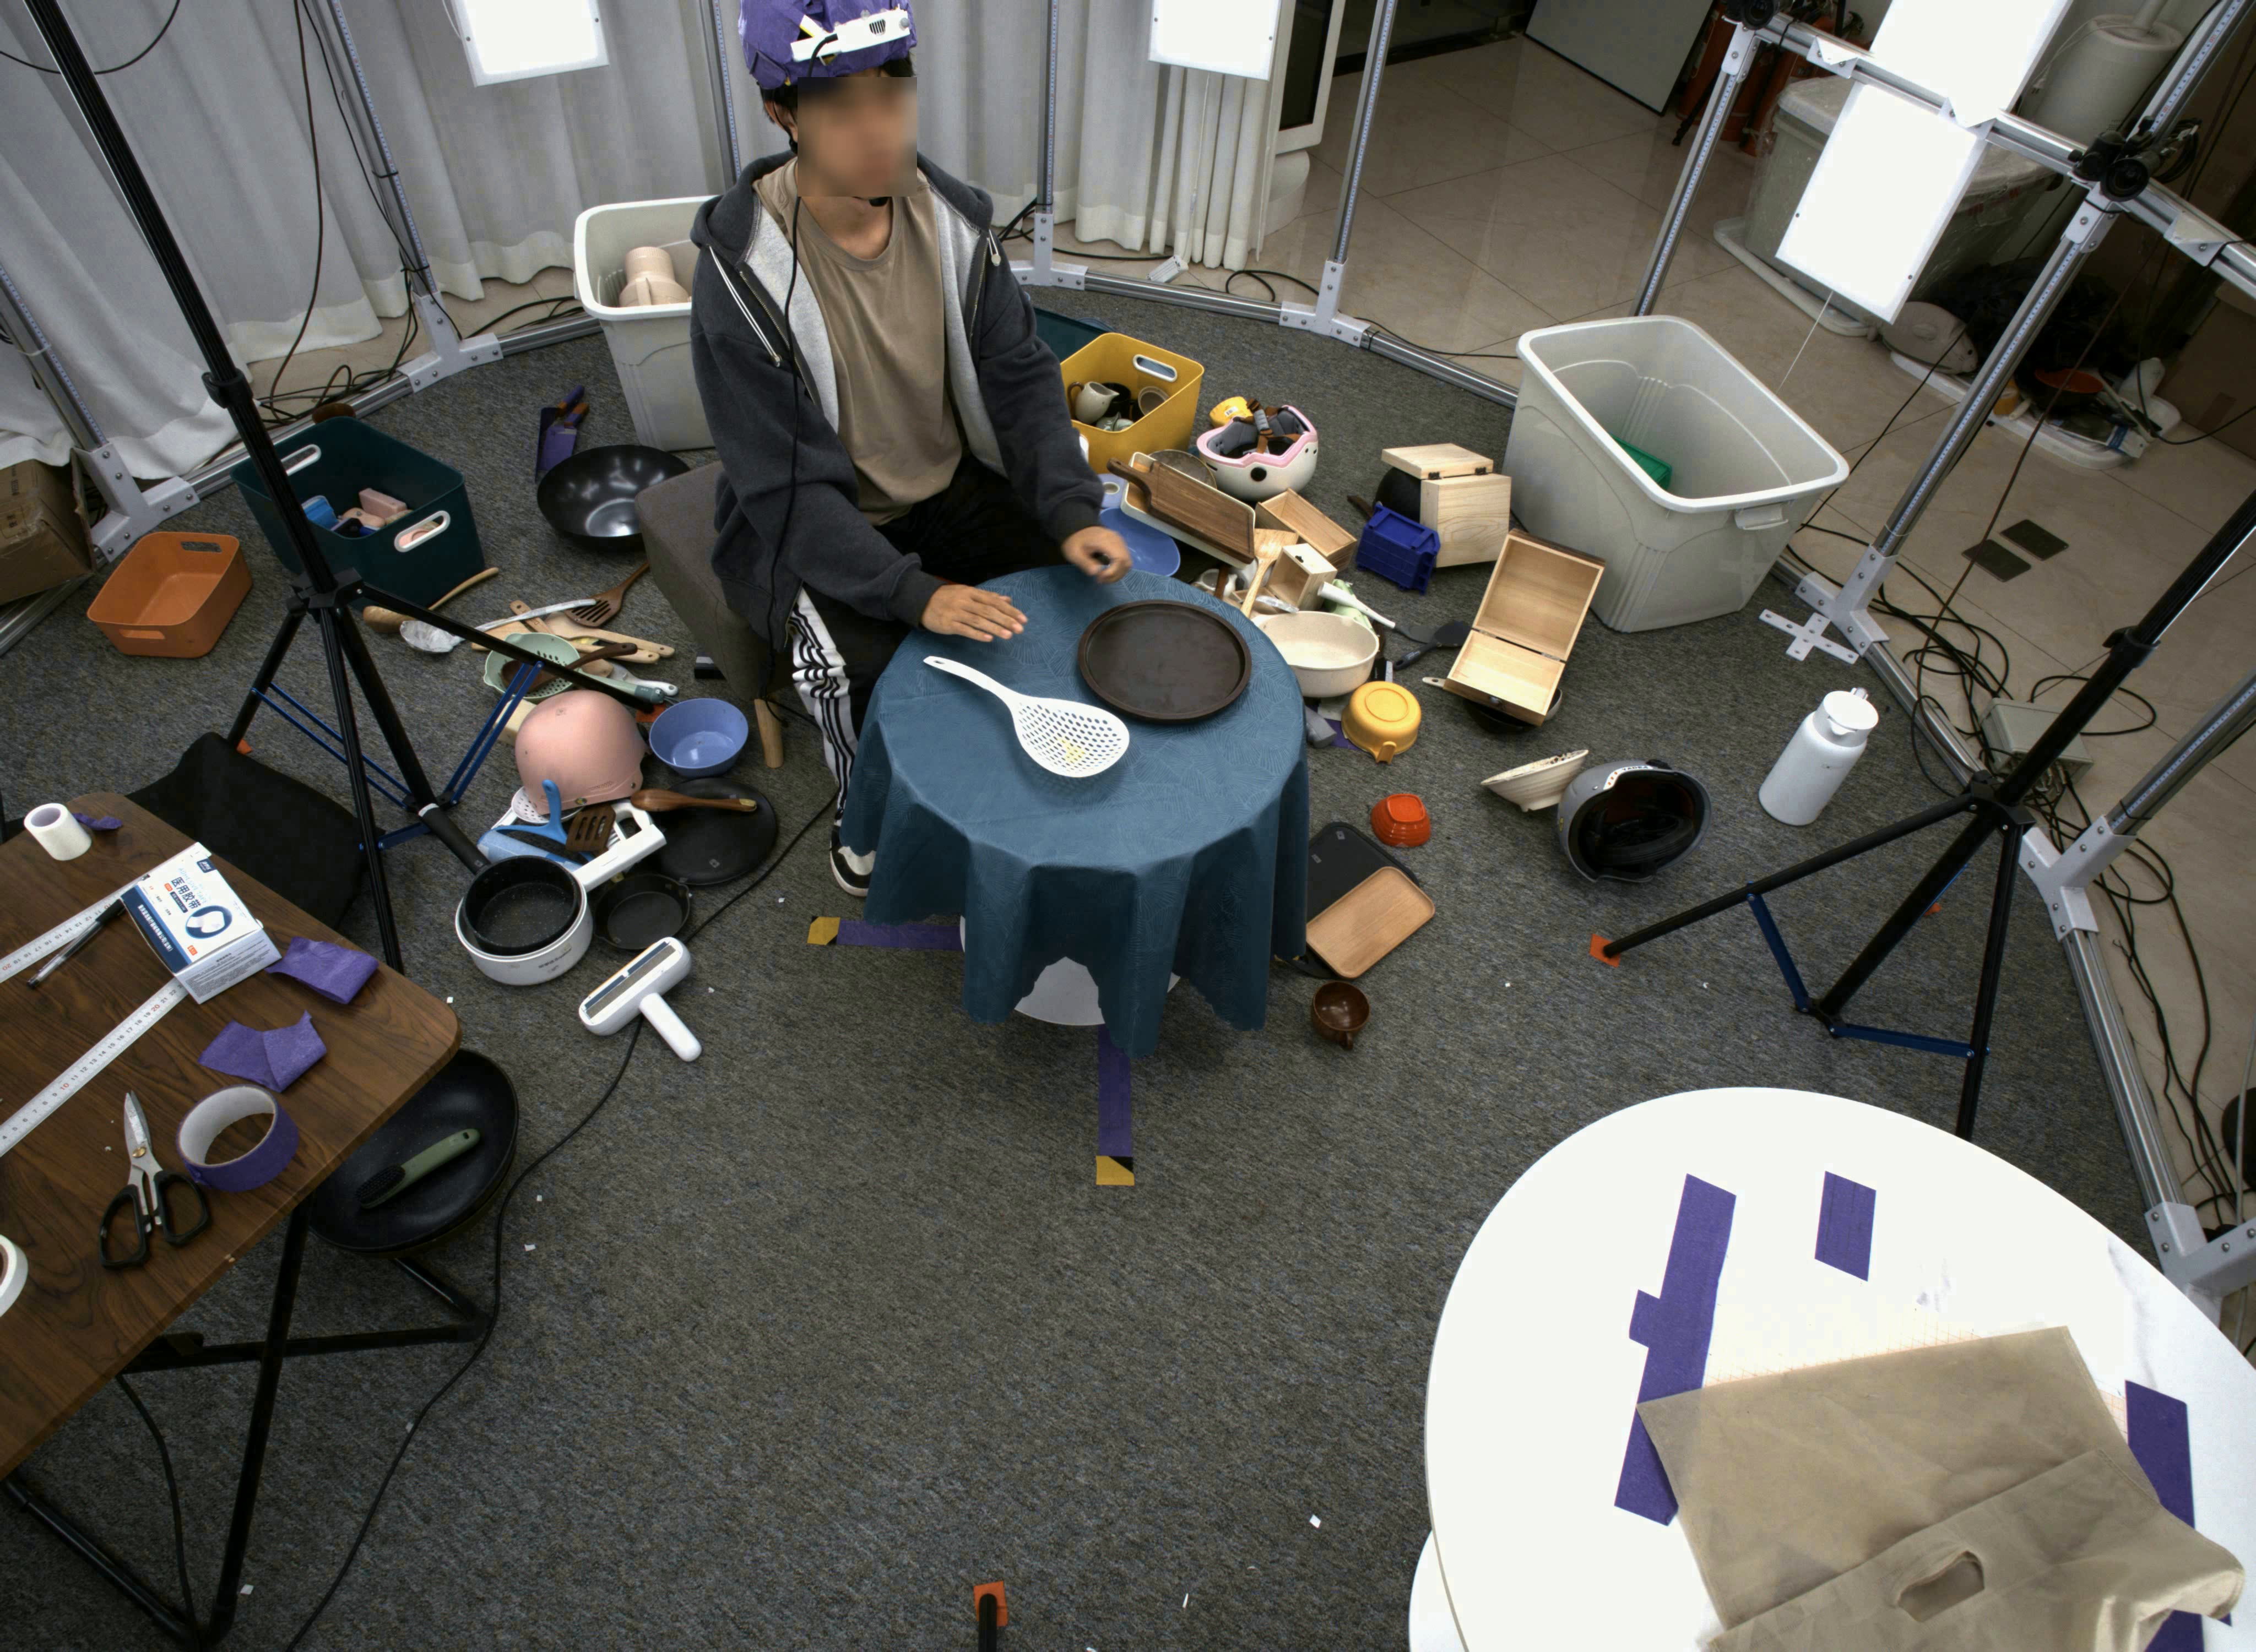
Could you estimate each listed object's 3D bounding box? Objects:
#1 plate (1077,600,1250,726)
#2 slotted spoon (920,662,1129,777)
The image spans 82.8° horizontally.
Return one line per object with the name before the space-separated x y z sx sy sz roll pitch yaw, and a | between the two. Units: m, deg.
plate | 0.051 -0.239 1.862 0.254 0.028 0.261 1 50 -2
slotted spoon | -0.154 -0.163 1.770 0.352 0.049 0.138 33 57 23
